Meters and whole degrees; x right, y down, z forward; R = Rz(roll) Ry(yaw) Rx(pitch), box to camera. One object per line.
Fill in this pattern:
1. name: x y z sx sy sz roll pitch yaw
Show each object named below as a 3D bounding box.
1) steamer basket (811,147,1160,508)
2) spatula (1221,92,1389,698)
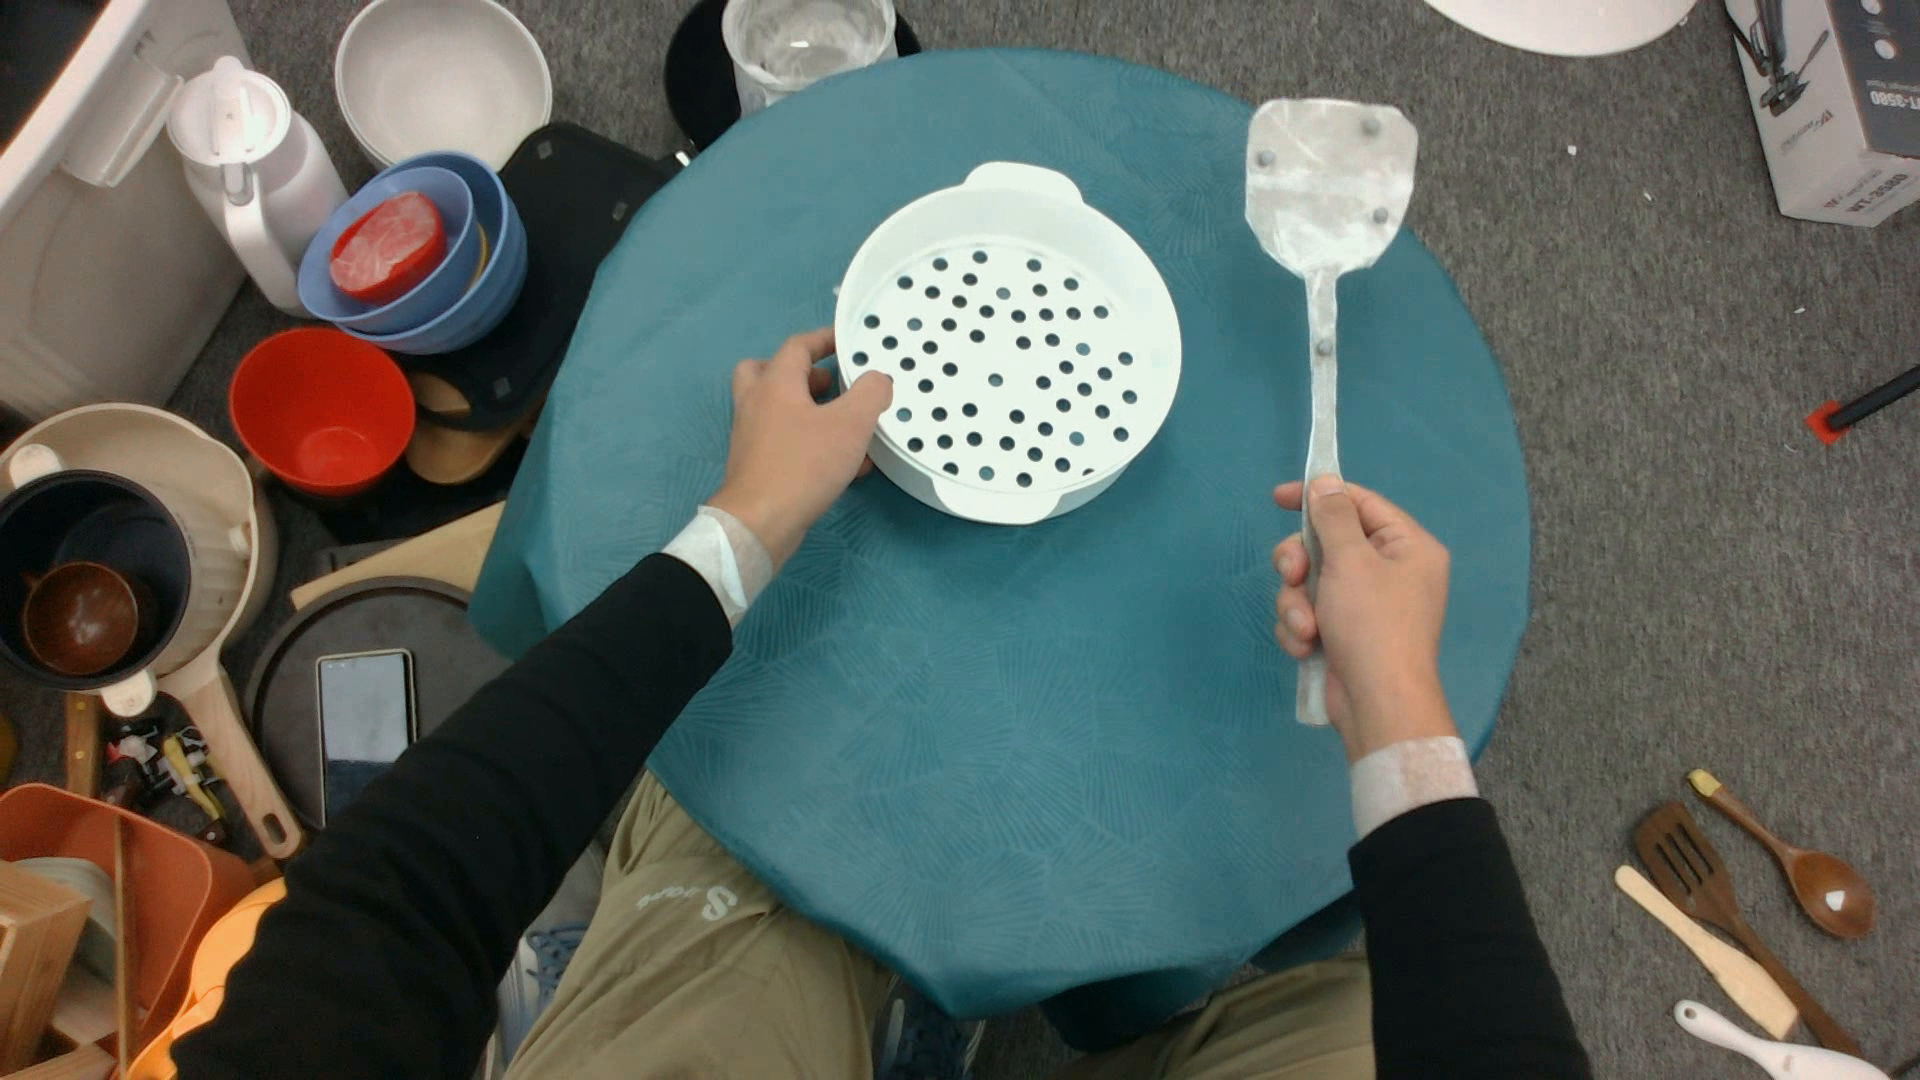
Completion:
1. steamer basket: 0.013 -0.118 0.815 0.202 0.069 0.231 8 70 -5
2. spatula: 0.184 -0.091 0.755 0.099 0.044 0.366 8 64 -1
